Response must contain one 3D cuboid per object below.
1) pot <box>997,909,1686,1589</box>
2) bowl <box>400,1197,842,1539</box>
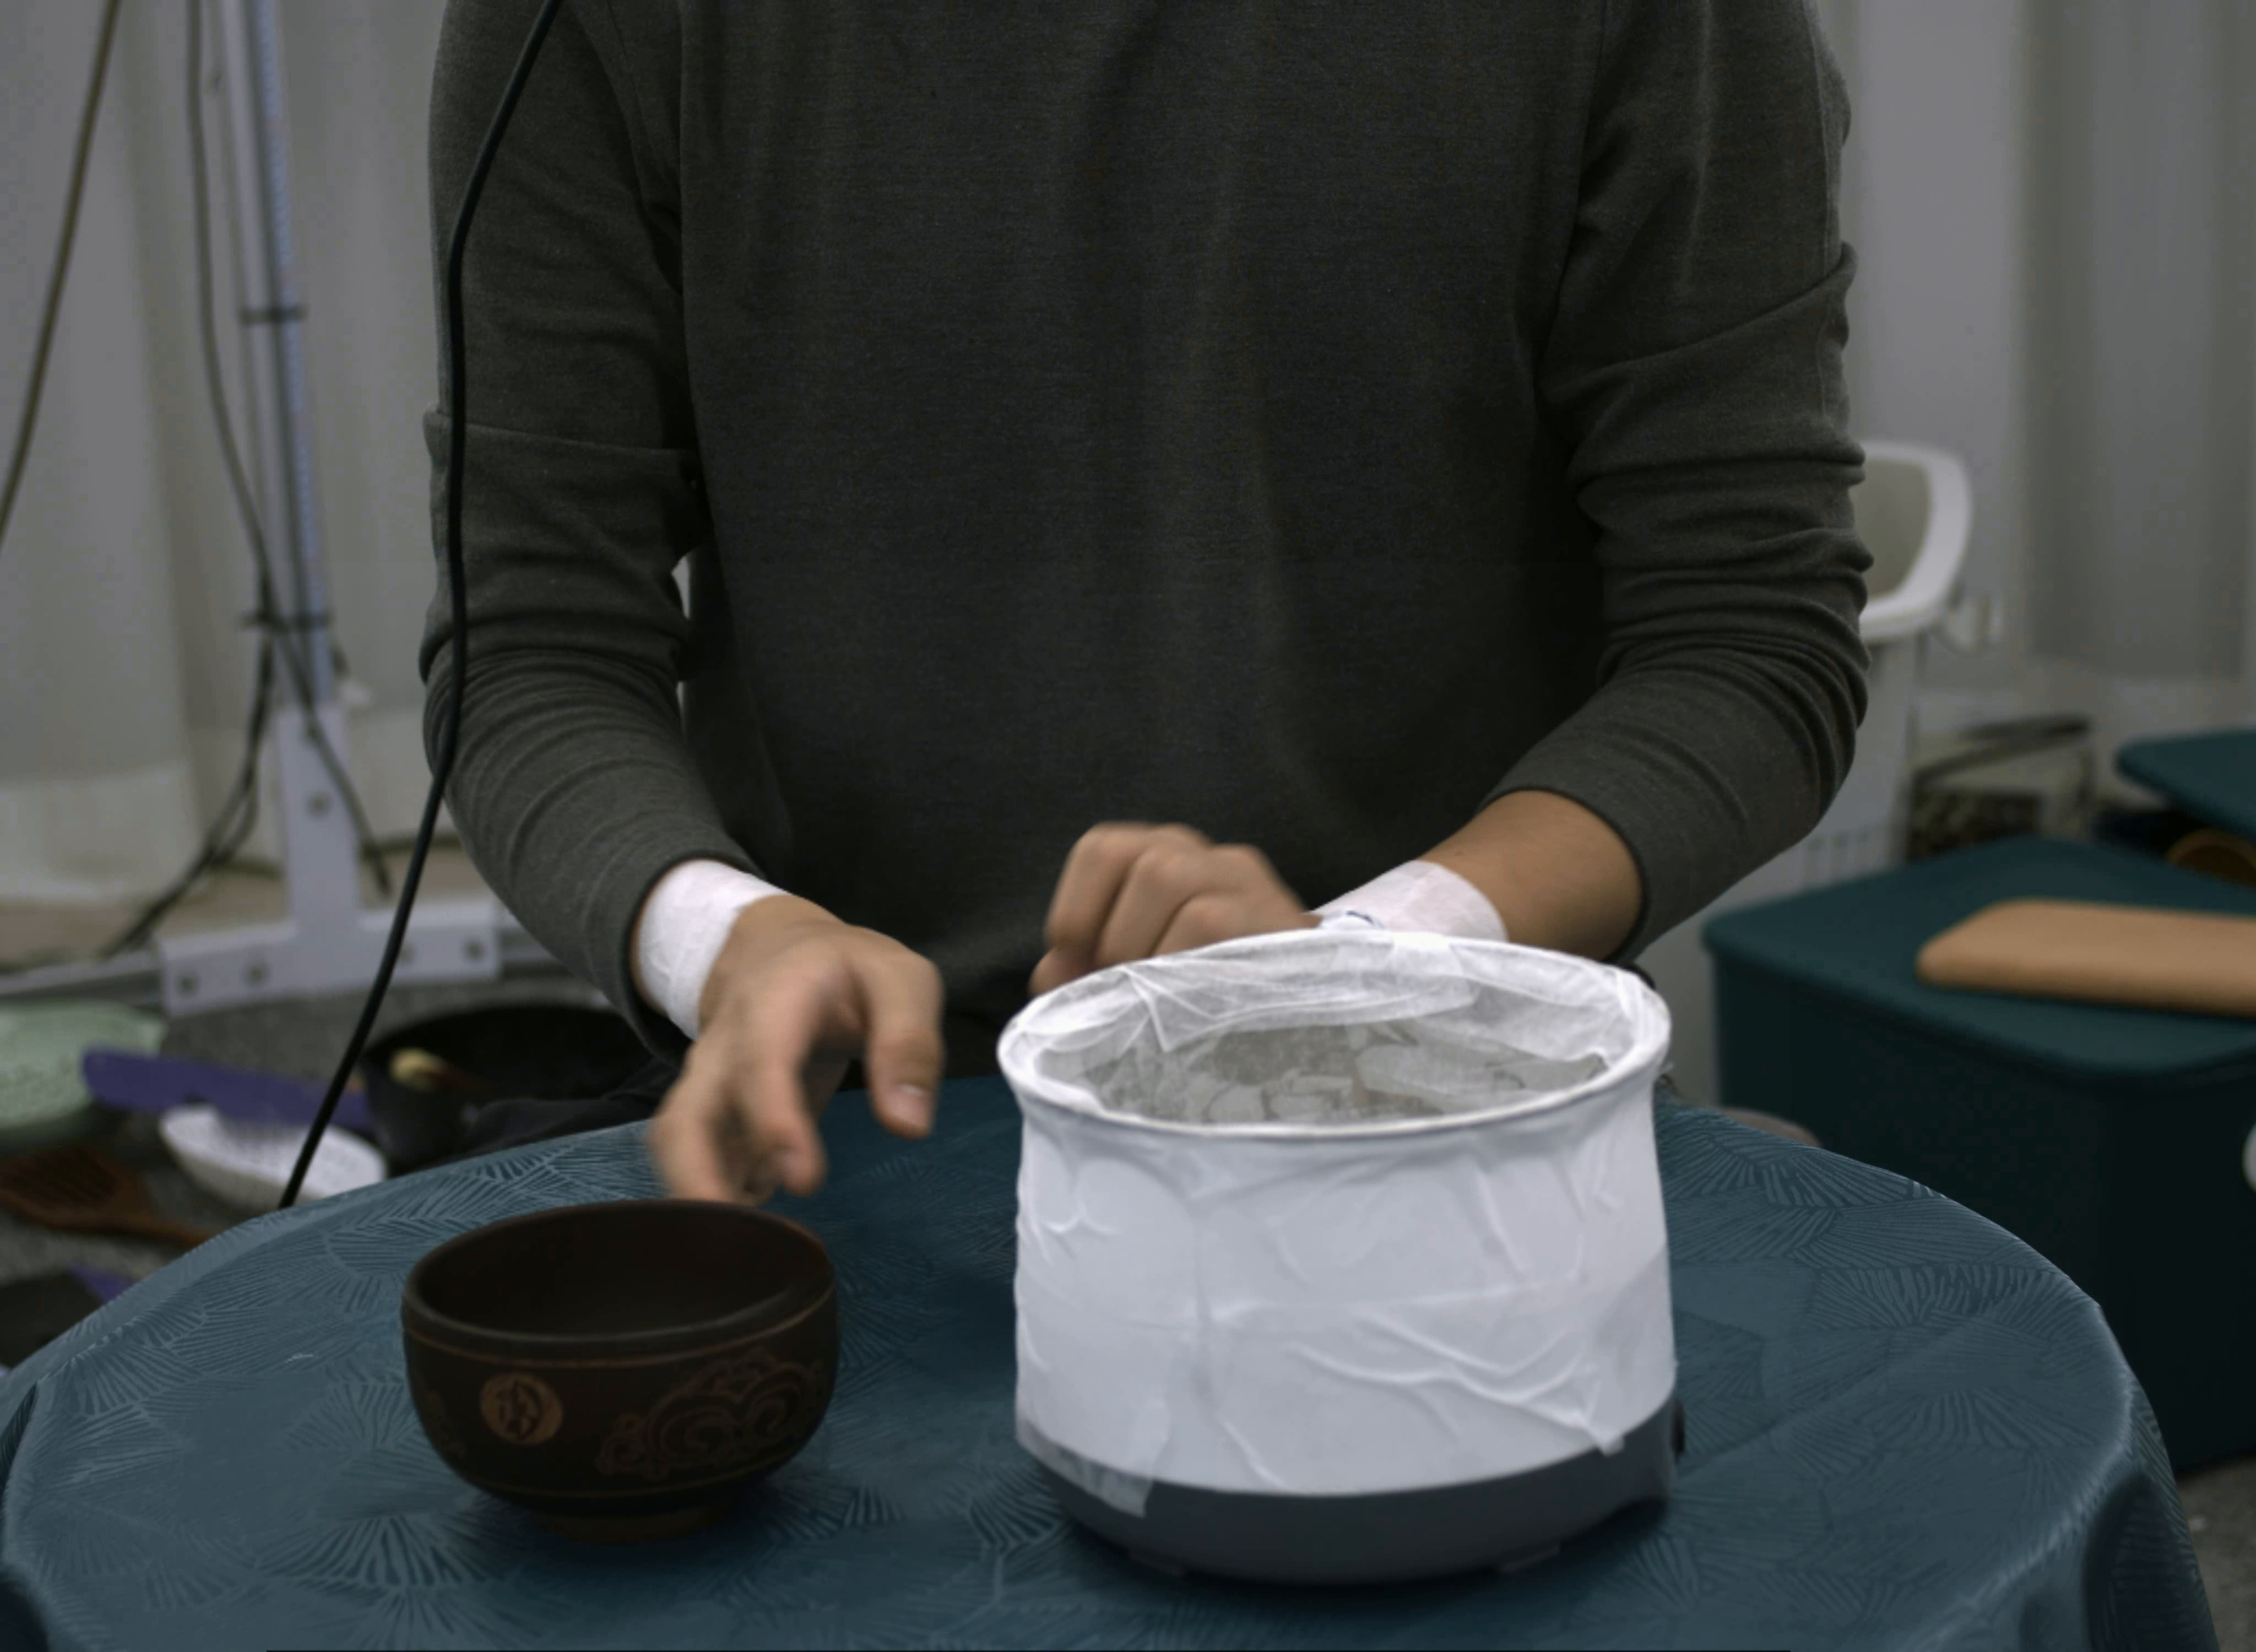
[{"bbox_3d":[0.059,0.107,1.471,0.178,0.136,0.235,-2,14,5],"label":"pot"},{"bbox_3d":[-0.135,0.150,1.471,0.117,0.069,0.118,-3,12,0],"label":"bowl"}]
